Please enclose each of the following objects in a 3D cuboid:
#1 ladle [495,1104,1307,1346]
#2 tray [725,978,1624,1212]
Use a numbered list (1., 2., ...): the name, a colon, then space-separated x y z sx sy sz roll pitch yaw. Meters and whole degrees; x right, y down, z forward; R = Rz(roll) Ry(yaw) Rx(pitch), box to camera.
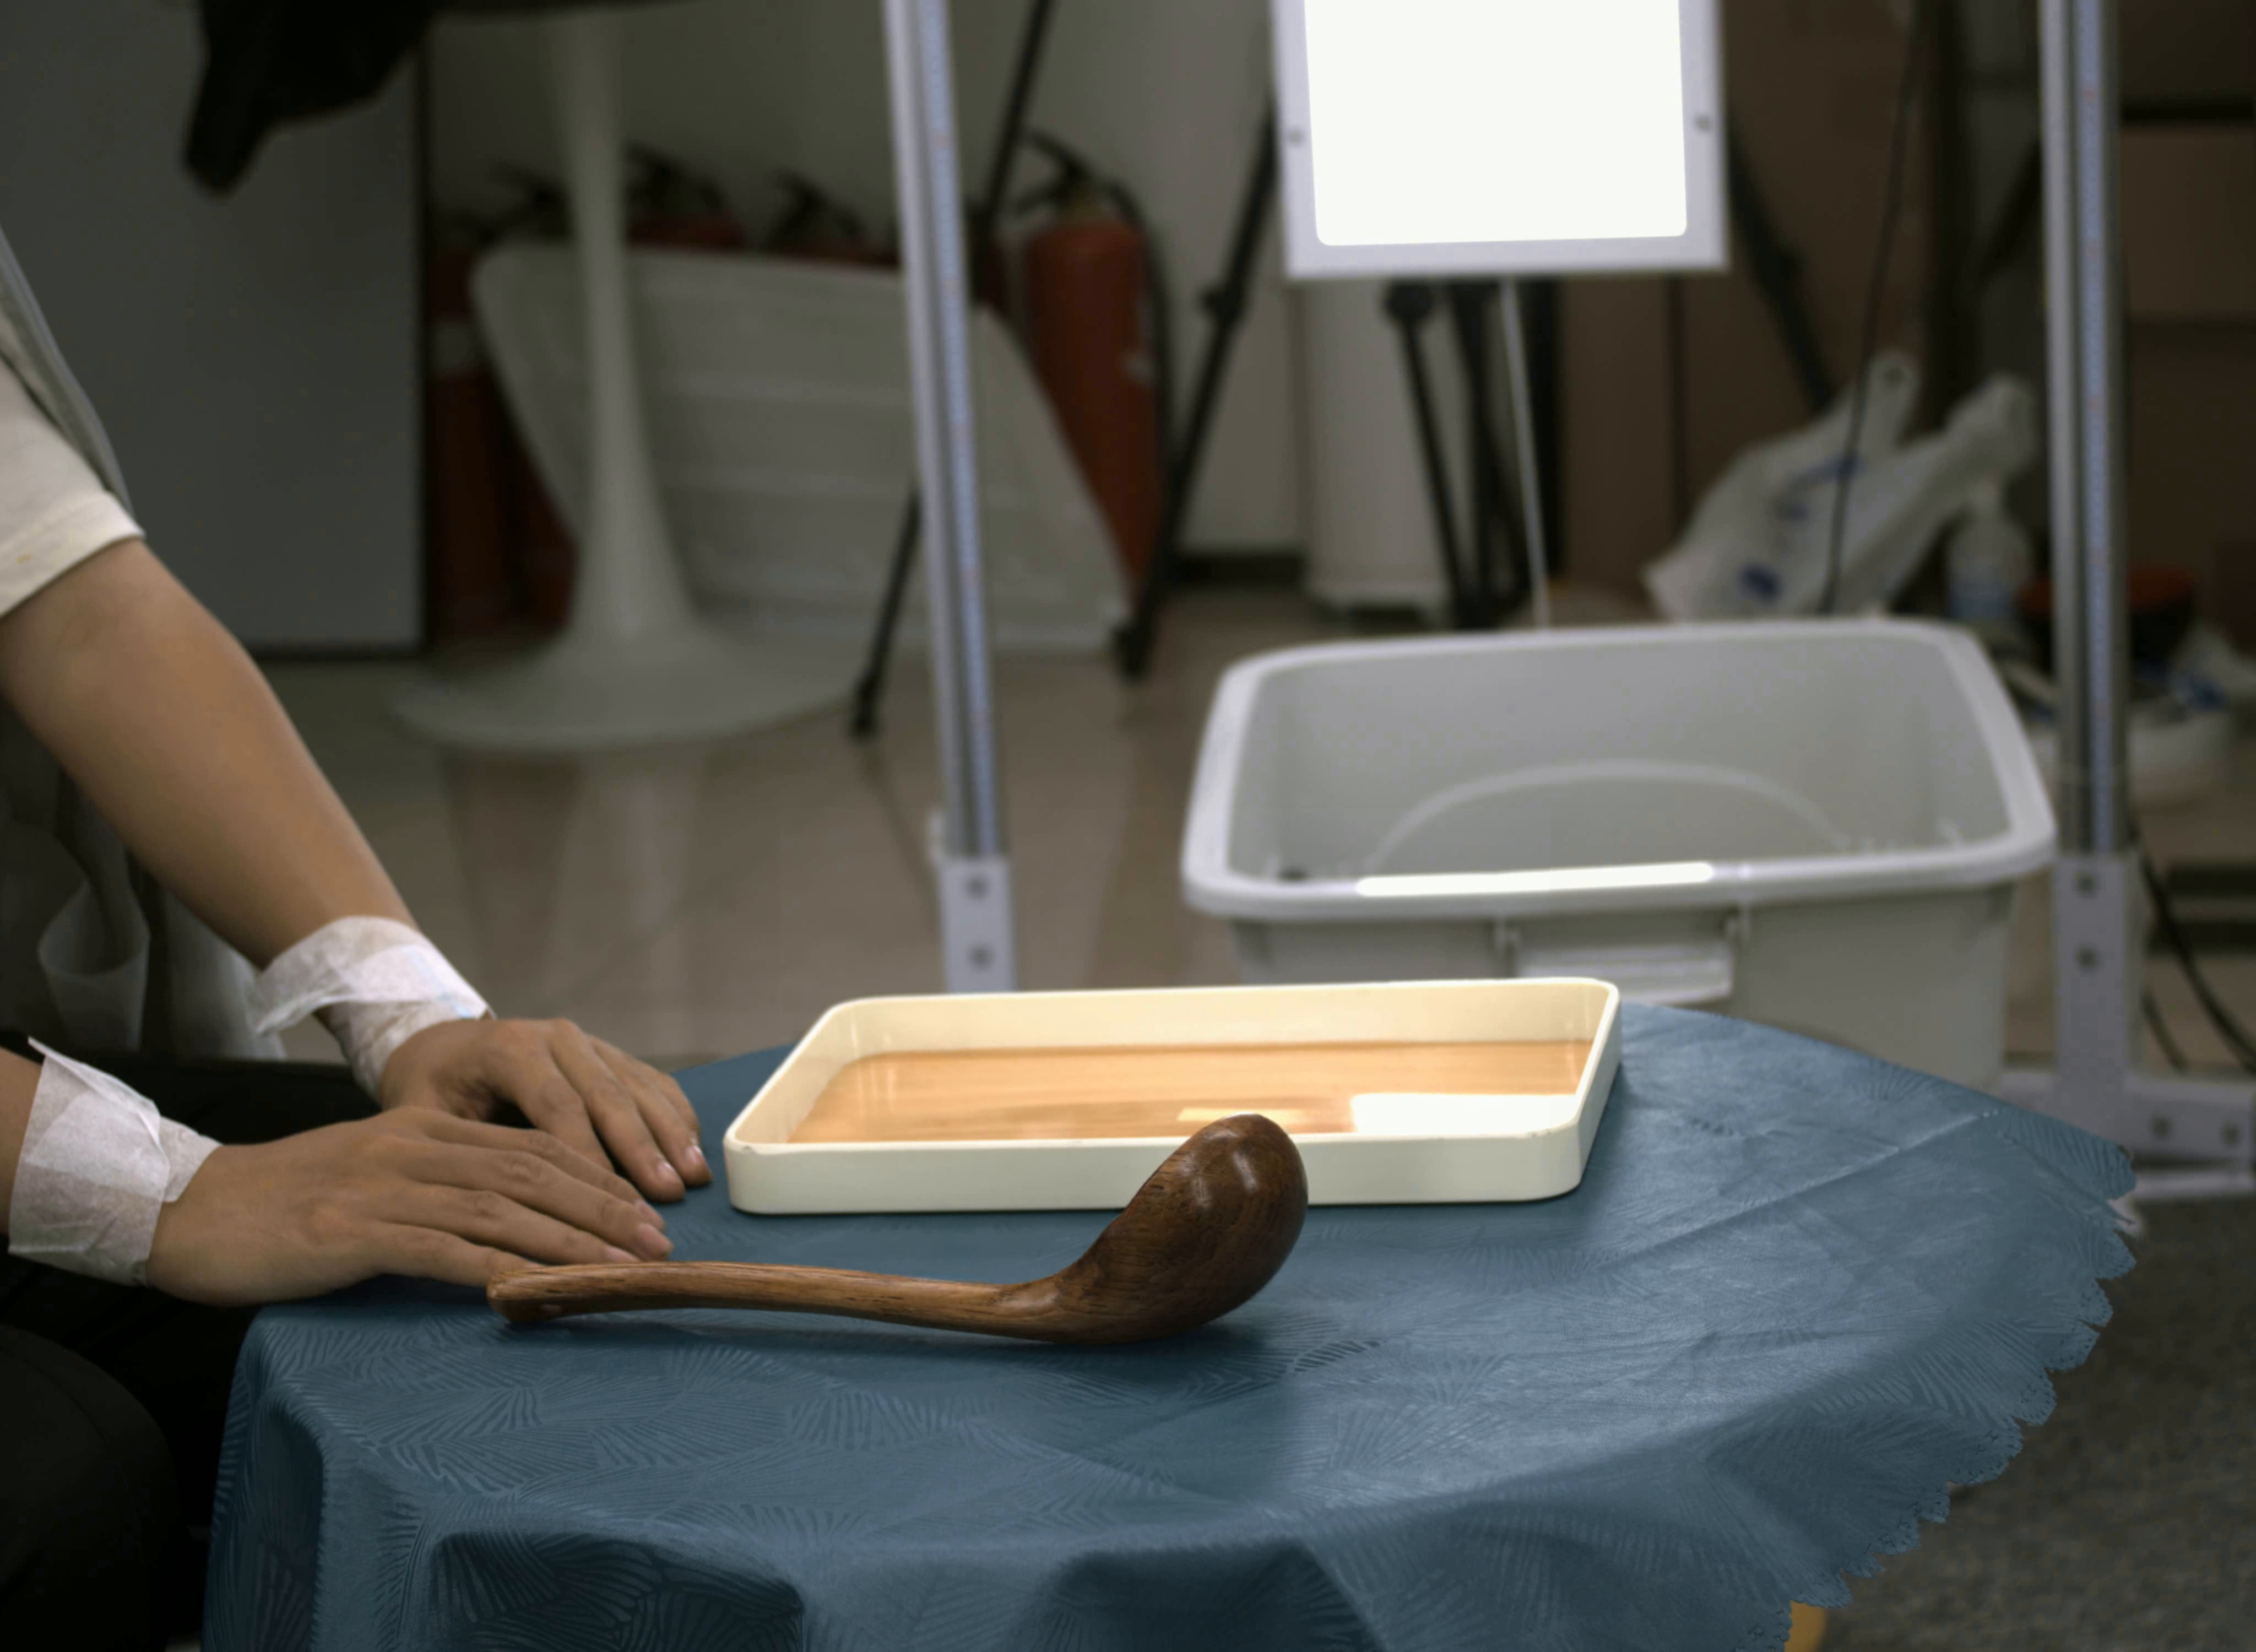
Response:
1. ladle: -0.075 0.127 1.776 0.278 0.076 0.081 -1 -27 24
2. tray: 0.021 0.095 1.961 0.303 0.027 0.189 -2 14 13
